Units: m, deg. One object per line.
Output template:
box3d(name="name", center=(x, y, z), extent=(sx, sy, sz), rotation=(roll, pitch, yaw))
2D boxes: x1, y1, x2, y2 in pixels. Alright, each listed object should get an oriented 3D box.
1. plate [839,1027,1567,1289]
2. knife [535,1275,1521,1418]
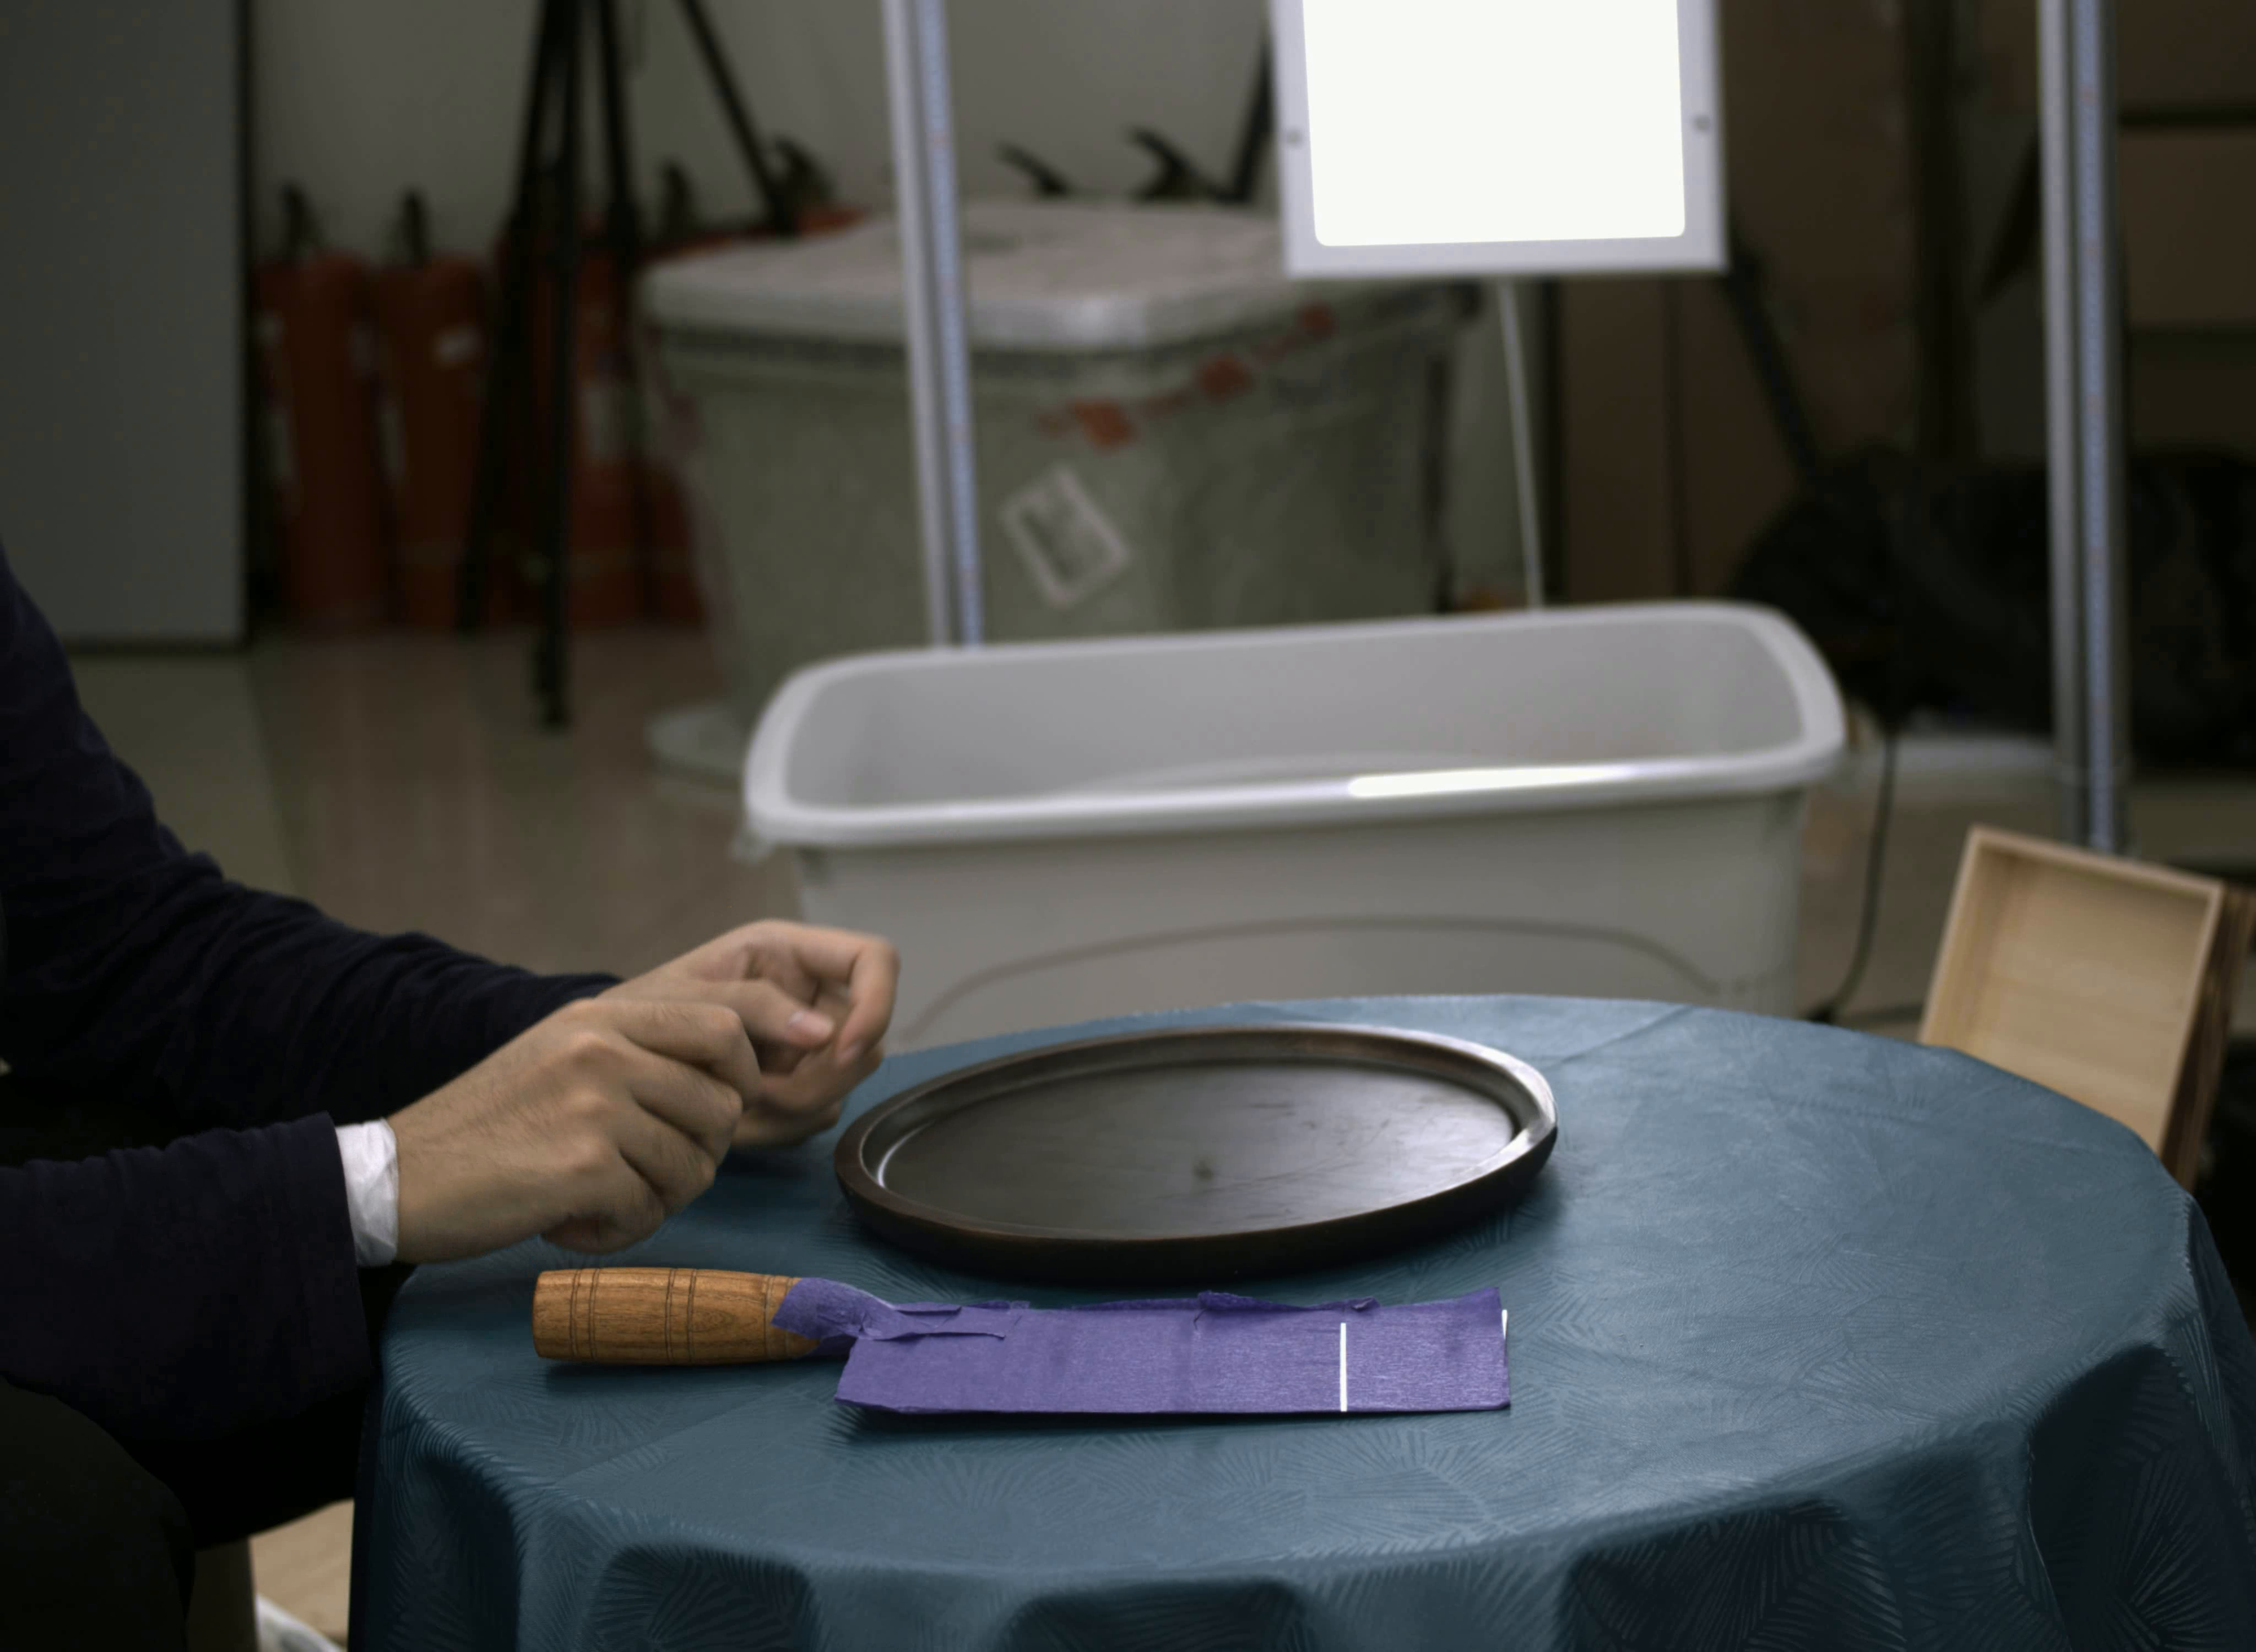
box3d(name="plate", center=(0.026, 0.112, 1.903), extent=(0.254, 0.029, 0.254), rotation=(-4, 14, 0))
box3d(name="knife", center=(-0.035, 0.161, 1.718), extent=(0.316, 0.032, 0.103), rotation=(-3, 14, 7))
